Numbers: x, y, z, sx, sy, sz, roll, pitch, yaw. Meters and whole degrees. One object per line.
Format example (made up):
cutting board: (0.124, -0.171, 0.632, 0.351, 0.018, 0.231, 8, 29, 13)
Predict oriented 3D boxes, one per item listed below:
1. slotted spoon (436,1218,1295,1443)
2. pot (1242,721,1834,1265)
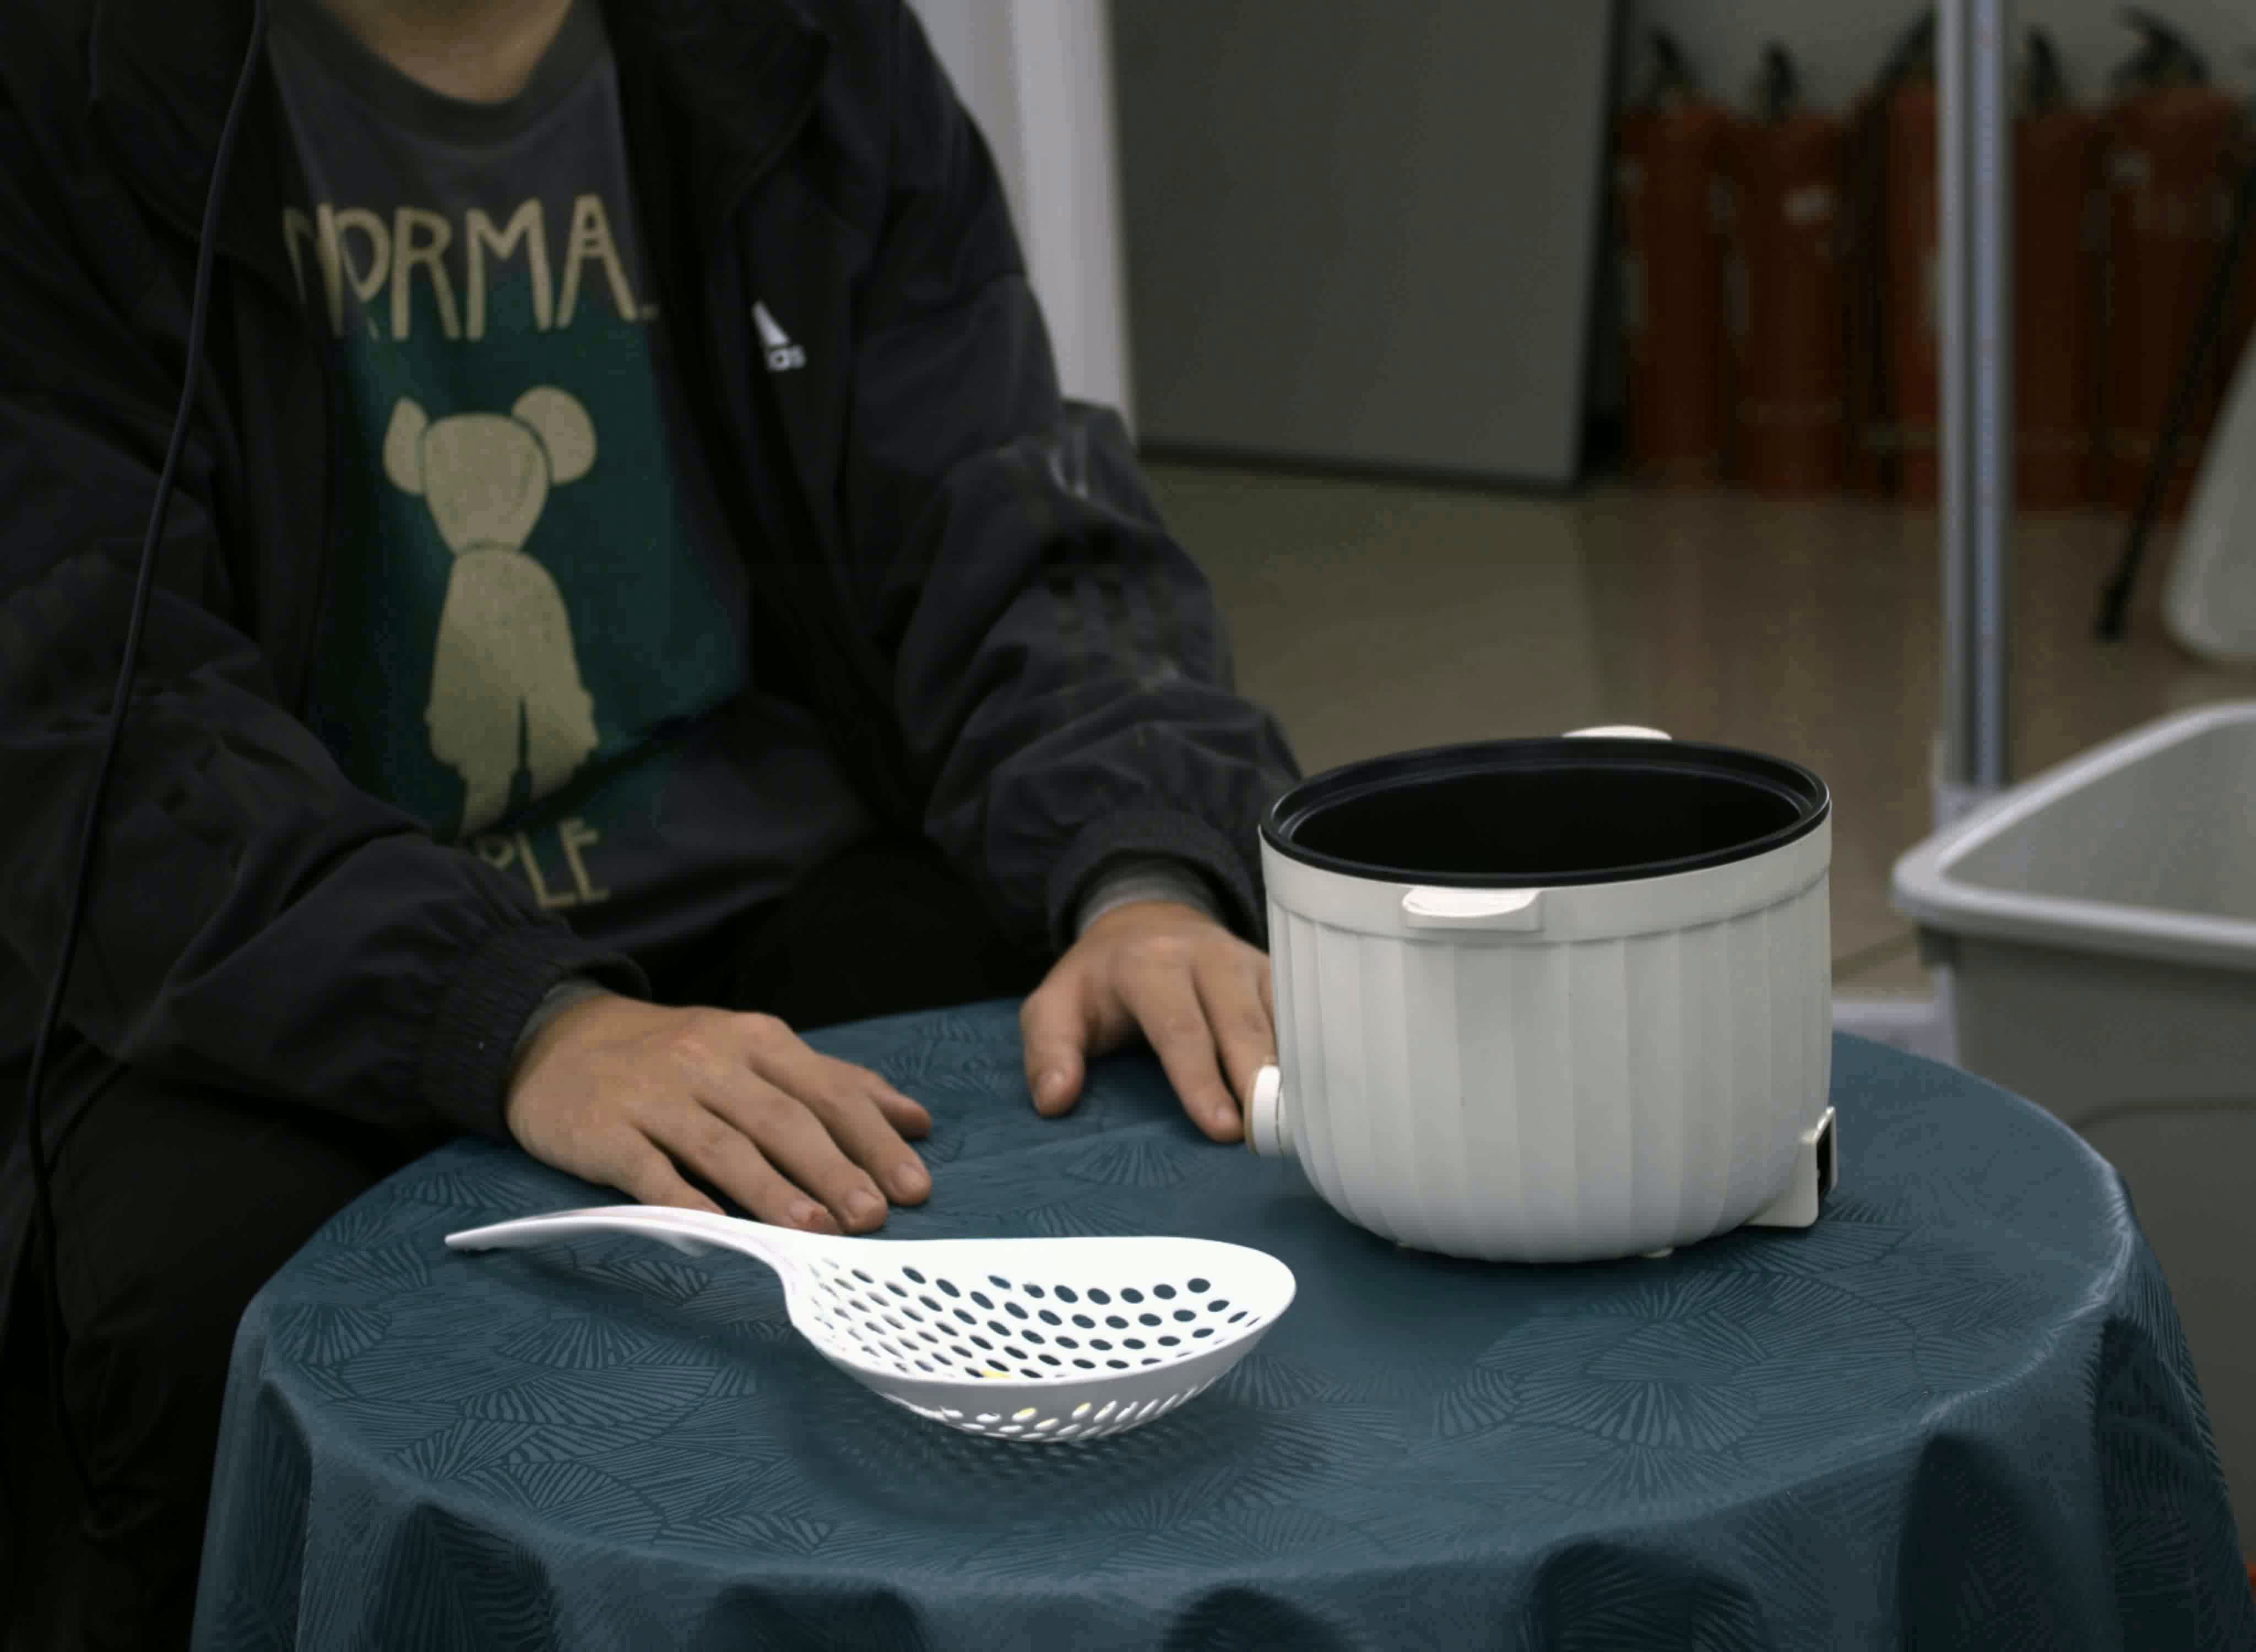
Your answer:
slotted spoon: (-0.095, 0.140, 1.635, 0.134, 0.051, 0.351, -19, 20, -41)
pot: (0.129, 0.056, 1.709, 0.190, 0.144, 0.238, 3, 14, 17)
